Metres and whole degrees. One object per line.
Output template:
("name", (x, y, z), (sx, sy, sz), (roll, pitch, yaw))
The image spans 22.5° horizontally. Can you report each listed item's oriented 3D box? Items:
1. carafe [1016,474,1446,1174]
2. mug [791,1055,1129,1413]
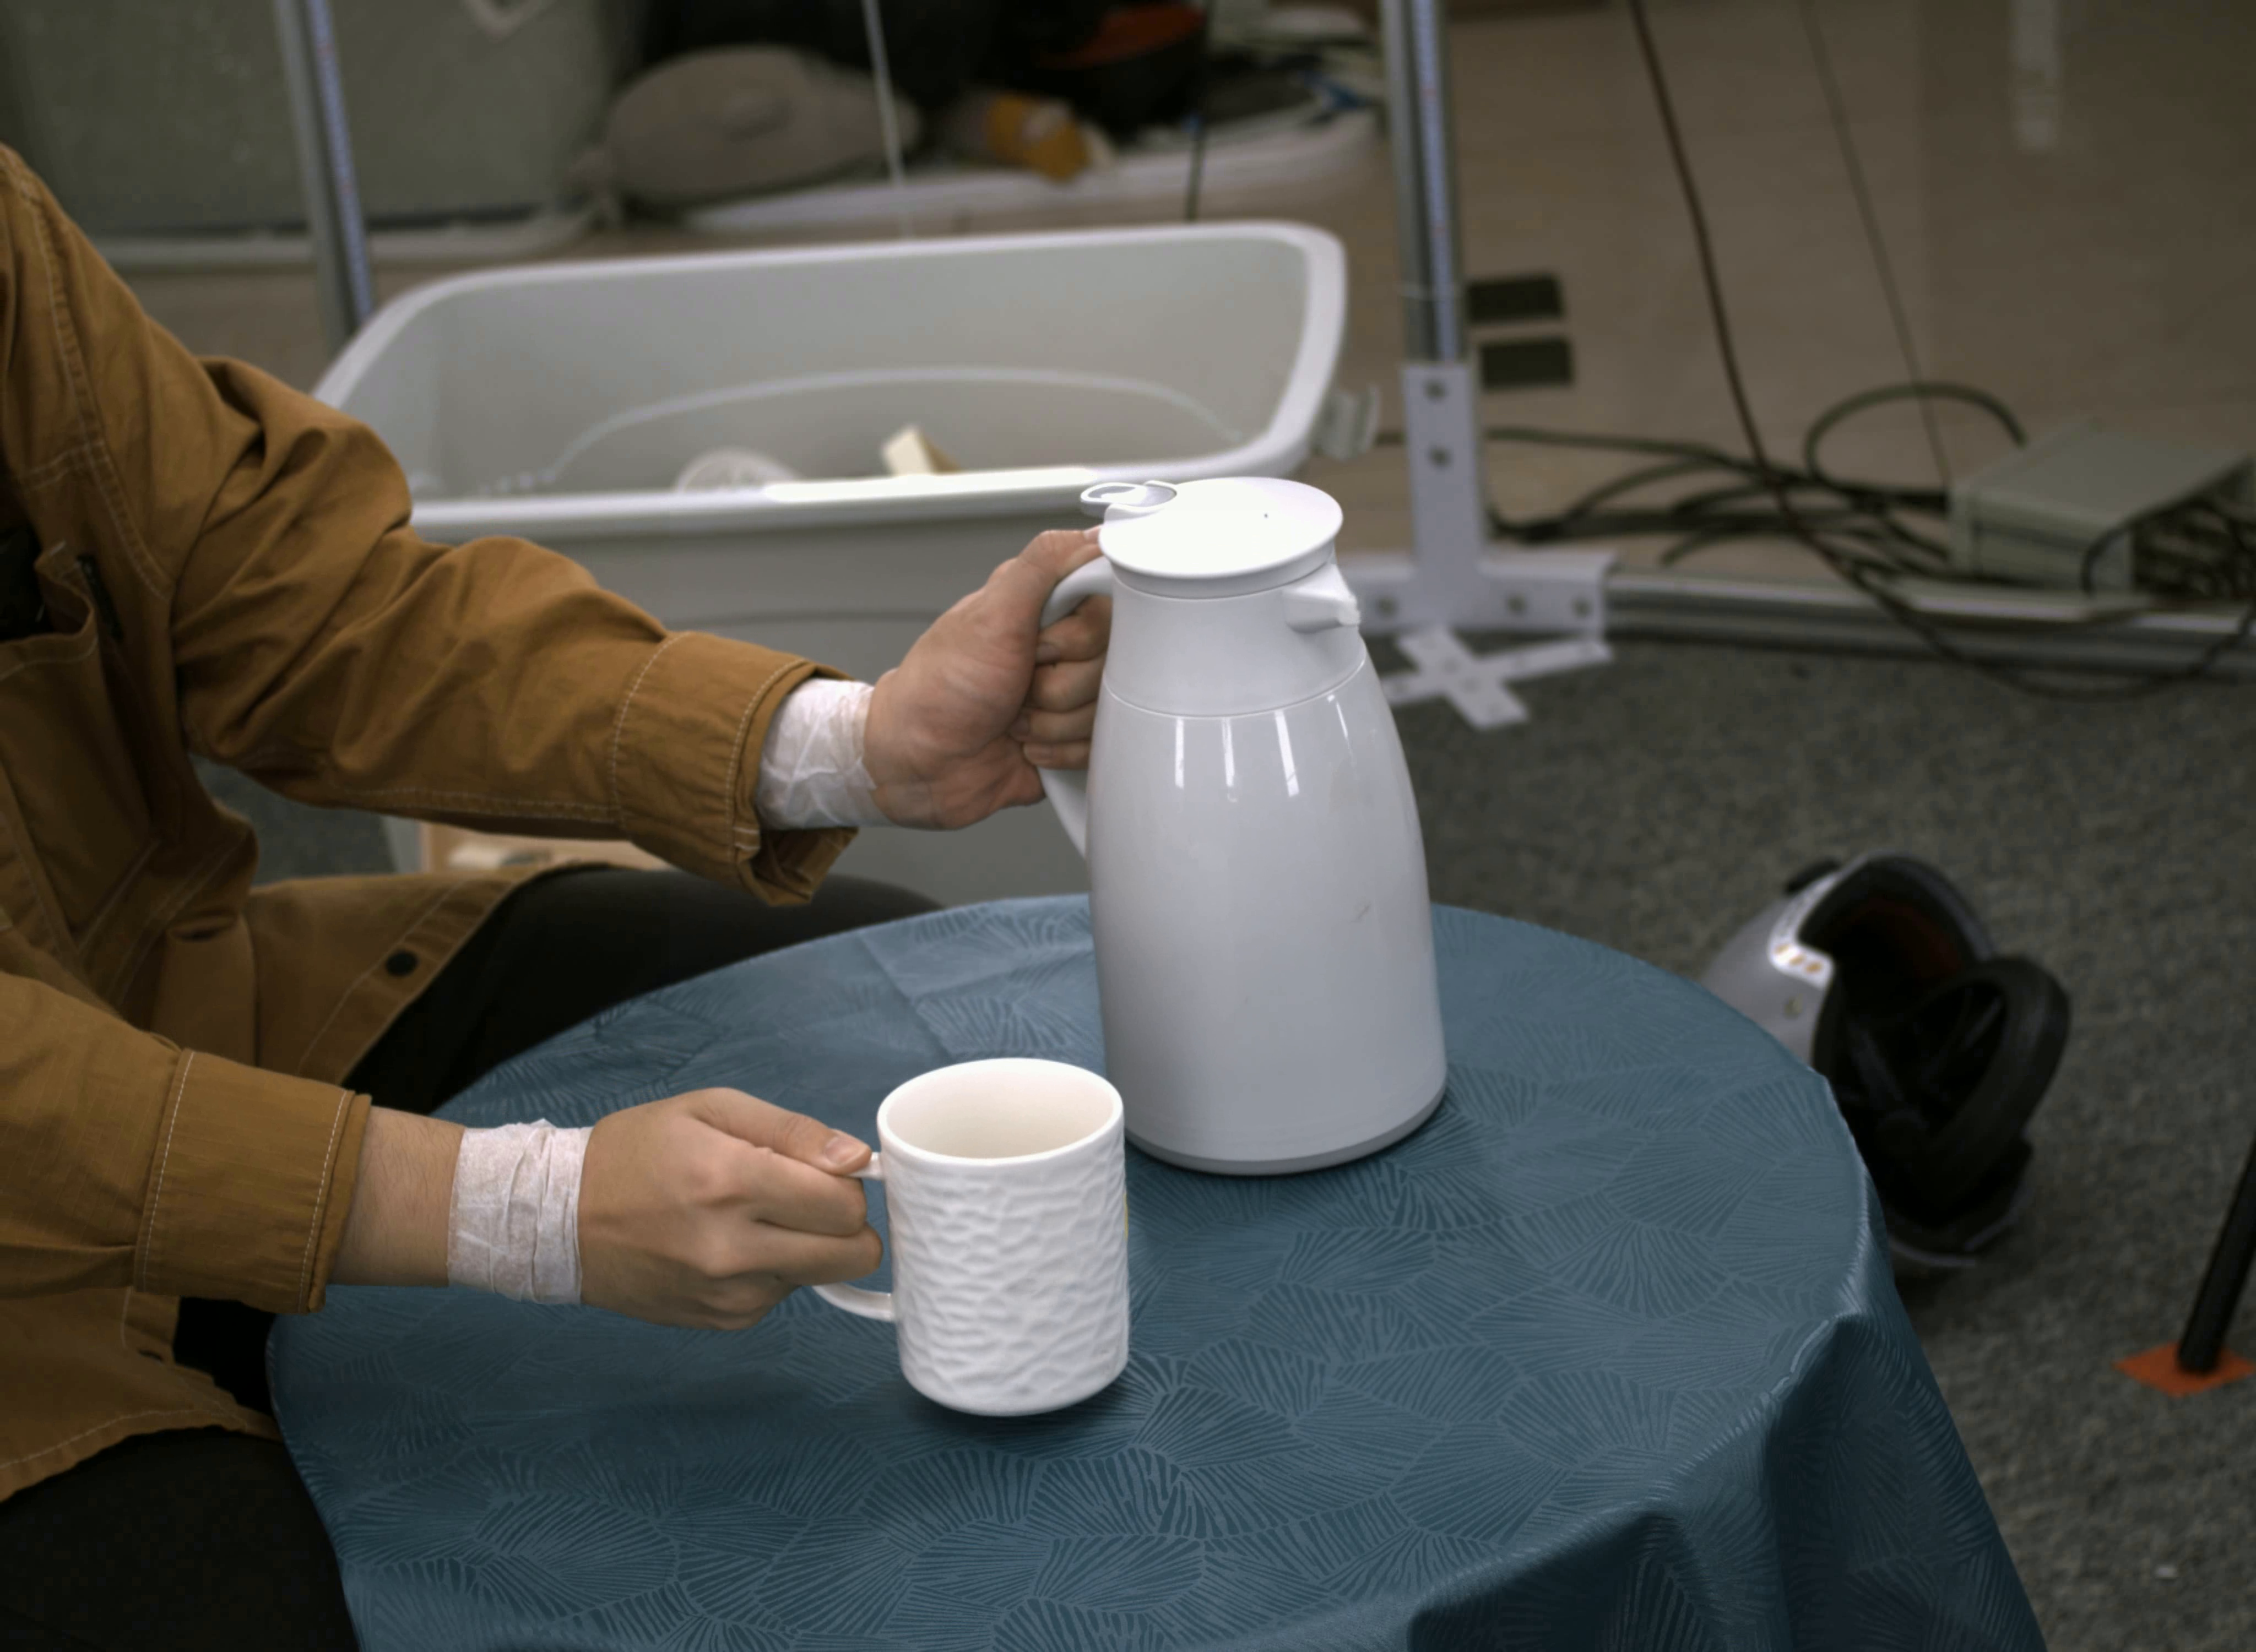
("carafe", (0.030, -0.011, 2.155), (0.166, 0.253, 0.131), (14, 34, 36))
("mug", (-0.059, 0.145, 2.003), (0.118, 0.103, 0.084), (-3, 24, -1))
